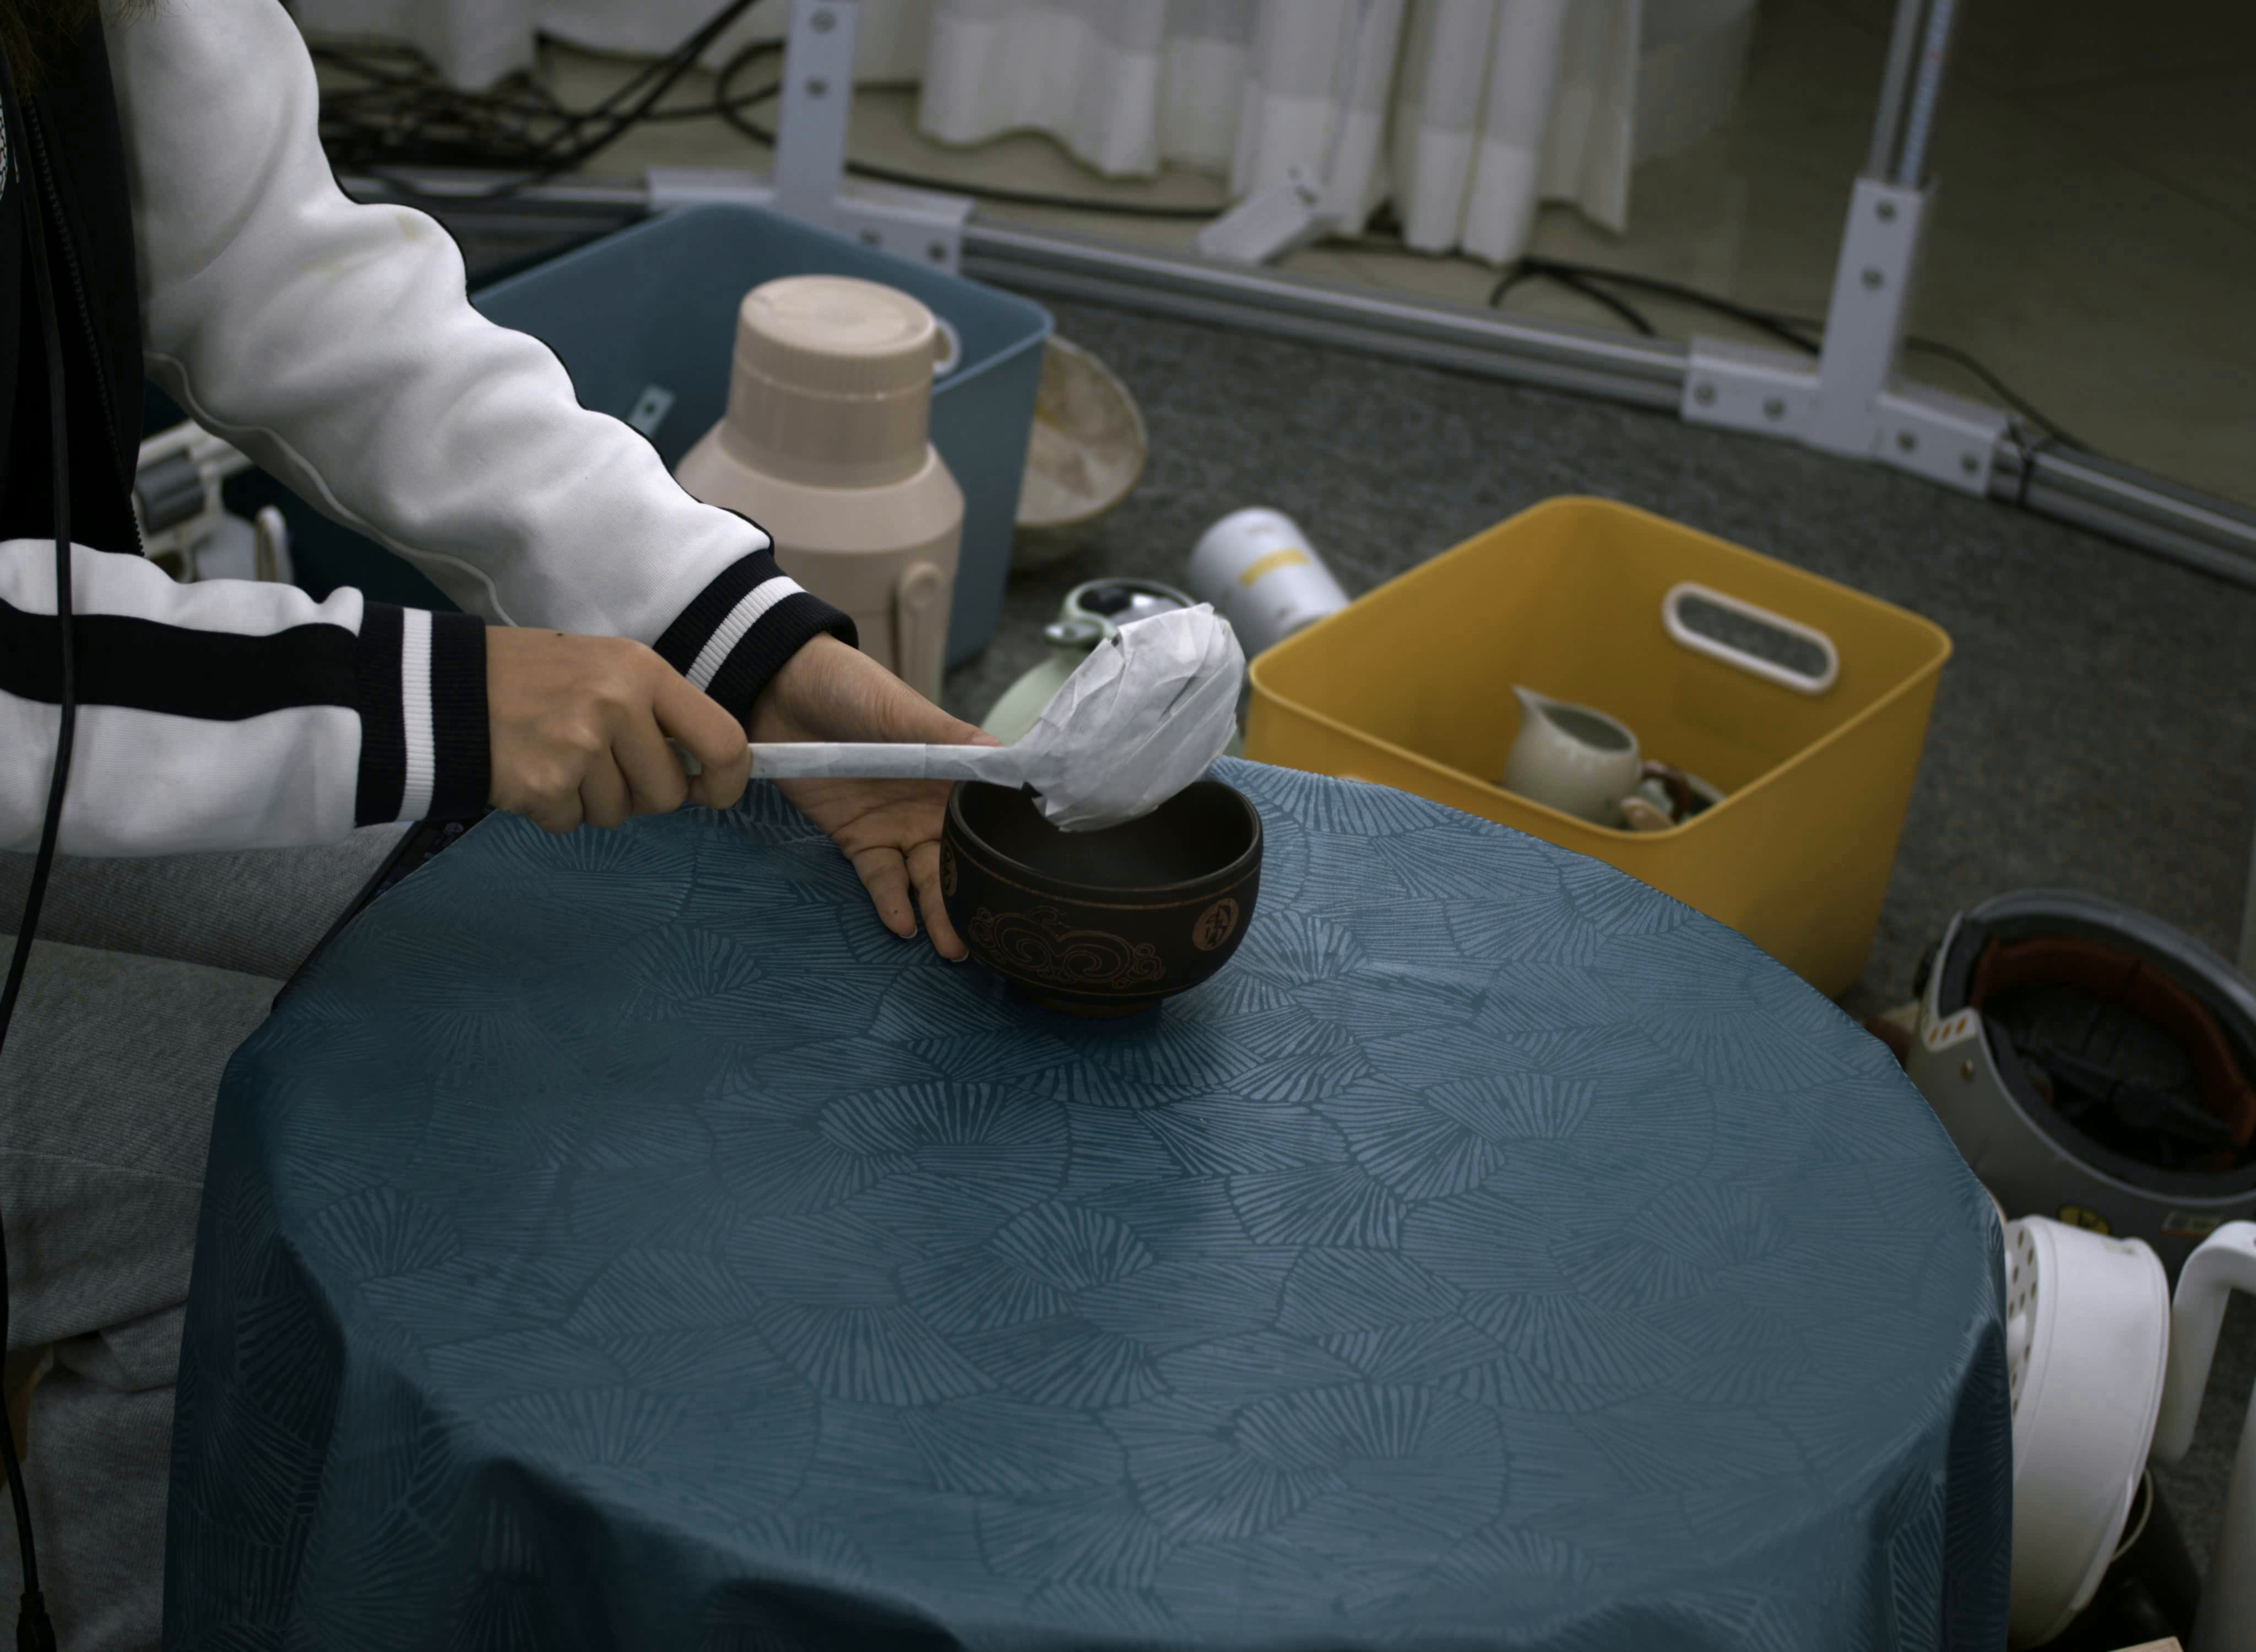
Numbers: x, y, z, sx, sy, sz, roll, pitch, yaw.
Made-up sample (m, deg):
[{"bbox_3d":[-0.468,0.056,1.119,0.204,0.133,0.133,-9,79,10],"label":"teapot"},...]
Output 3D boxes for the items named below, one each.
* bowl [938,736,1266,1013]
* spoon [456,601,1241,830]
[{"bbox_3d":[-0.011,0.024,1.915,0.117,0.069,0.119,5,27,-3],"label":"bowl"},{"bbox_3d":[-0.096,-0.036,1.873,0.276,0.100,0.060,0,39,-4],"label":"spoon"}]
